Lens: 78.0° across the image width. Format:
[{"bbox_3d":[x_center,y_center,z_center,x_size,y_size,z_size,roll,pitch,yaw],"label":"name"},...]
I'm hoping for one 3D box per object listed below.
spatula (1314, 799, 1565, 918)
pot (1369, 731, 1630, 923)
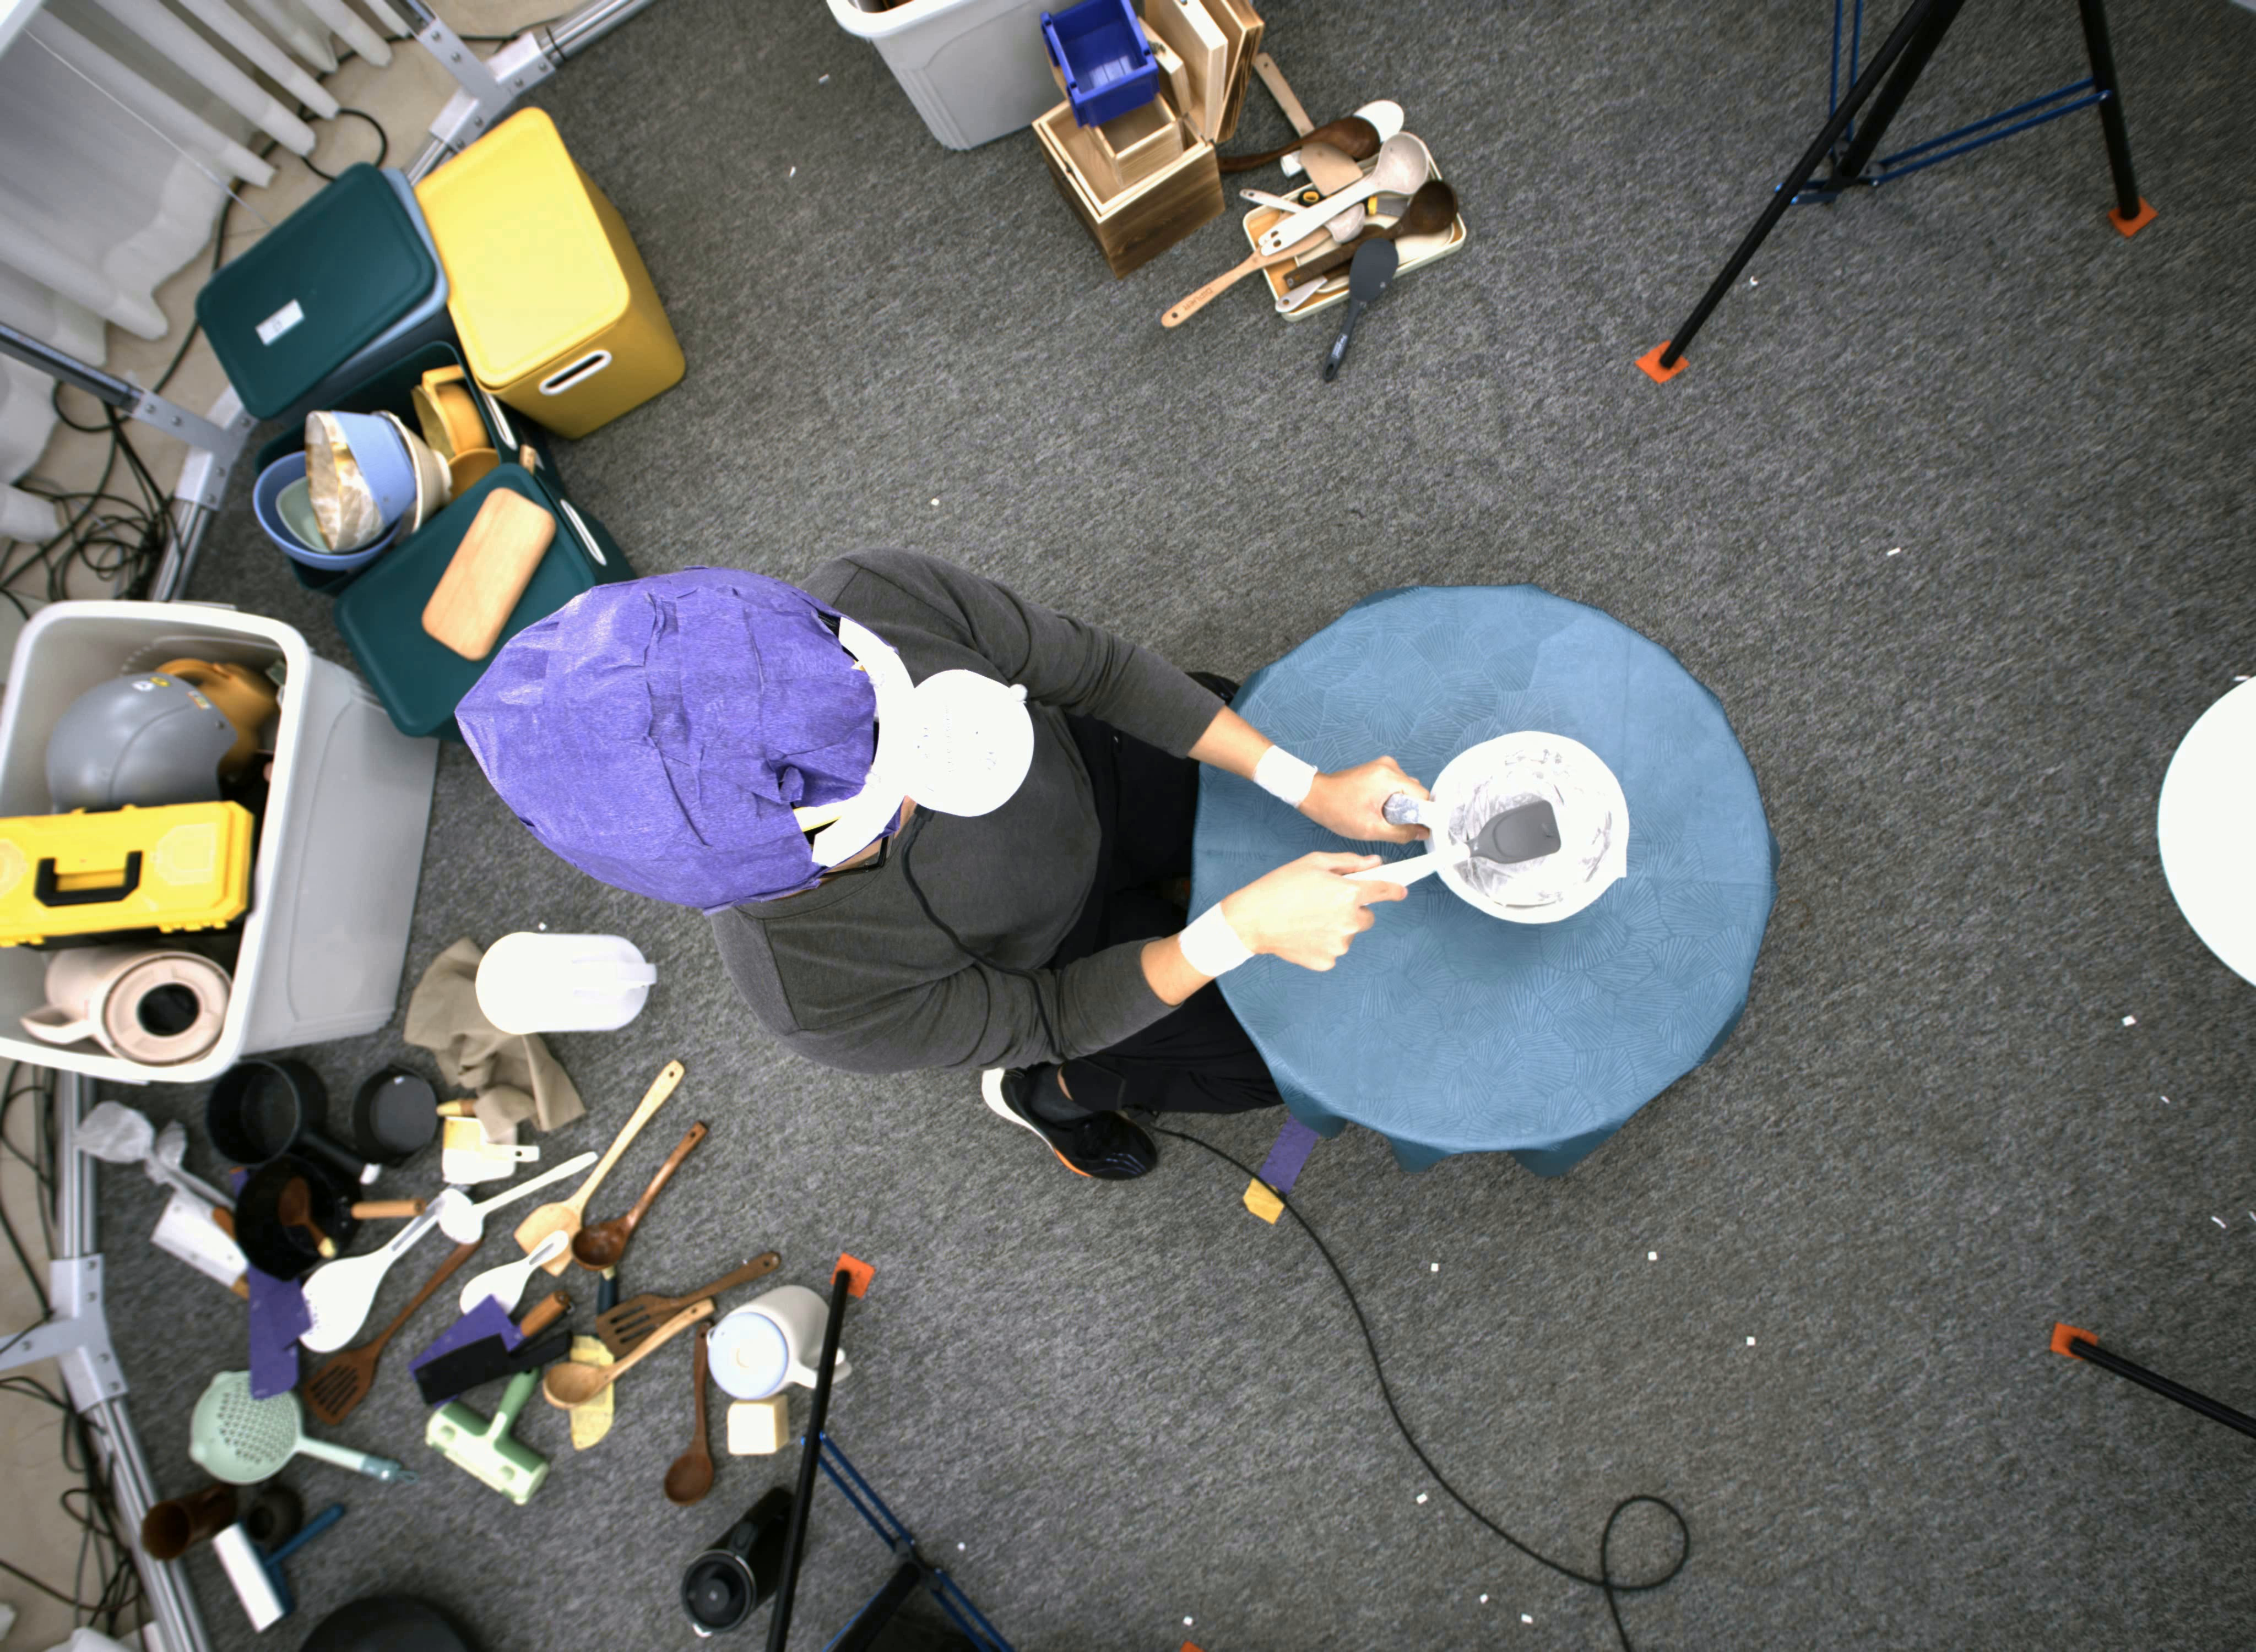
[{"bbox_3d":[0.290,0.030,1.258,0.284,0.032,0.058,-15,89,-28],"label":"spatula"},{"bbox_3d":[0.351,-0.005,1.327,0.234,0.136,0.179,8,93,7],"label":"pot"}]
